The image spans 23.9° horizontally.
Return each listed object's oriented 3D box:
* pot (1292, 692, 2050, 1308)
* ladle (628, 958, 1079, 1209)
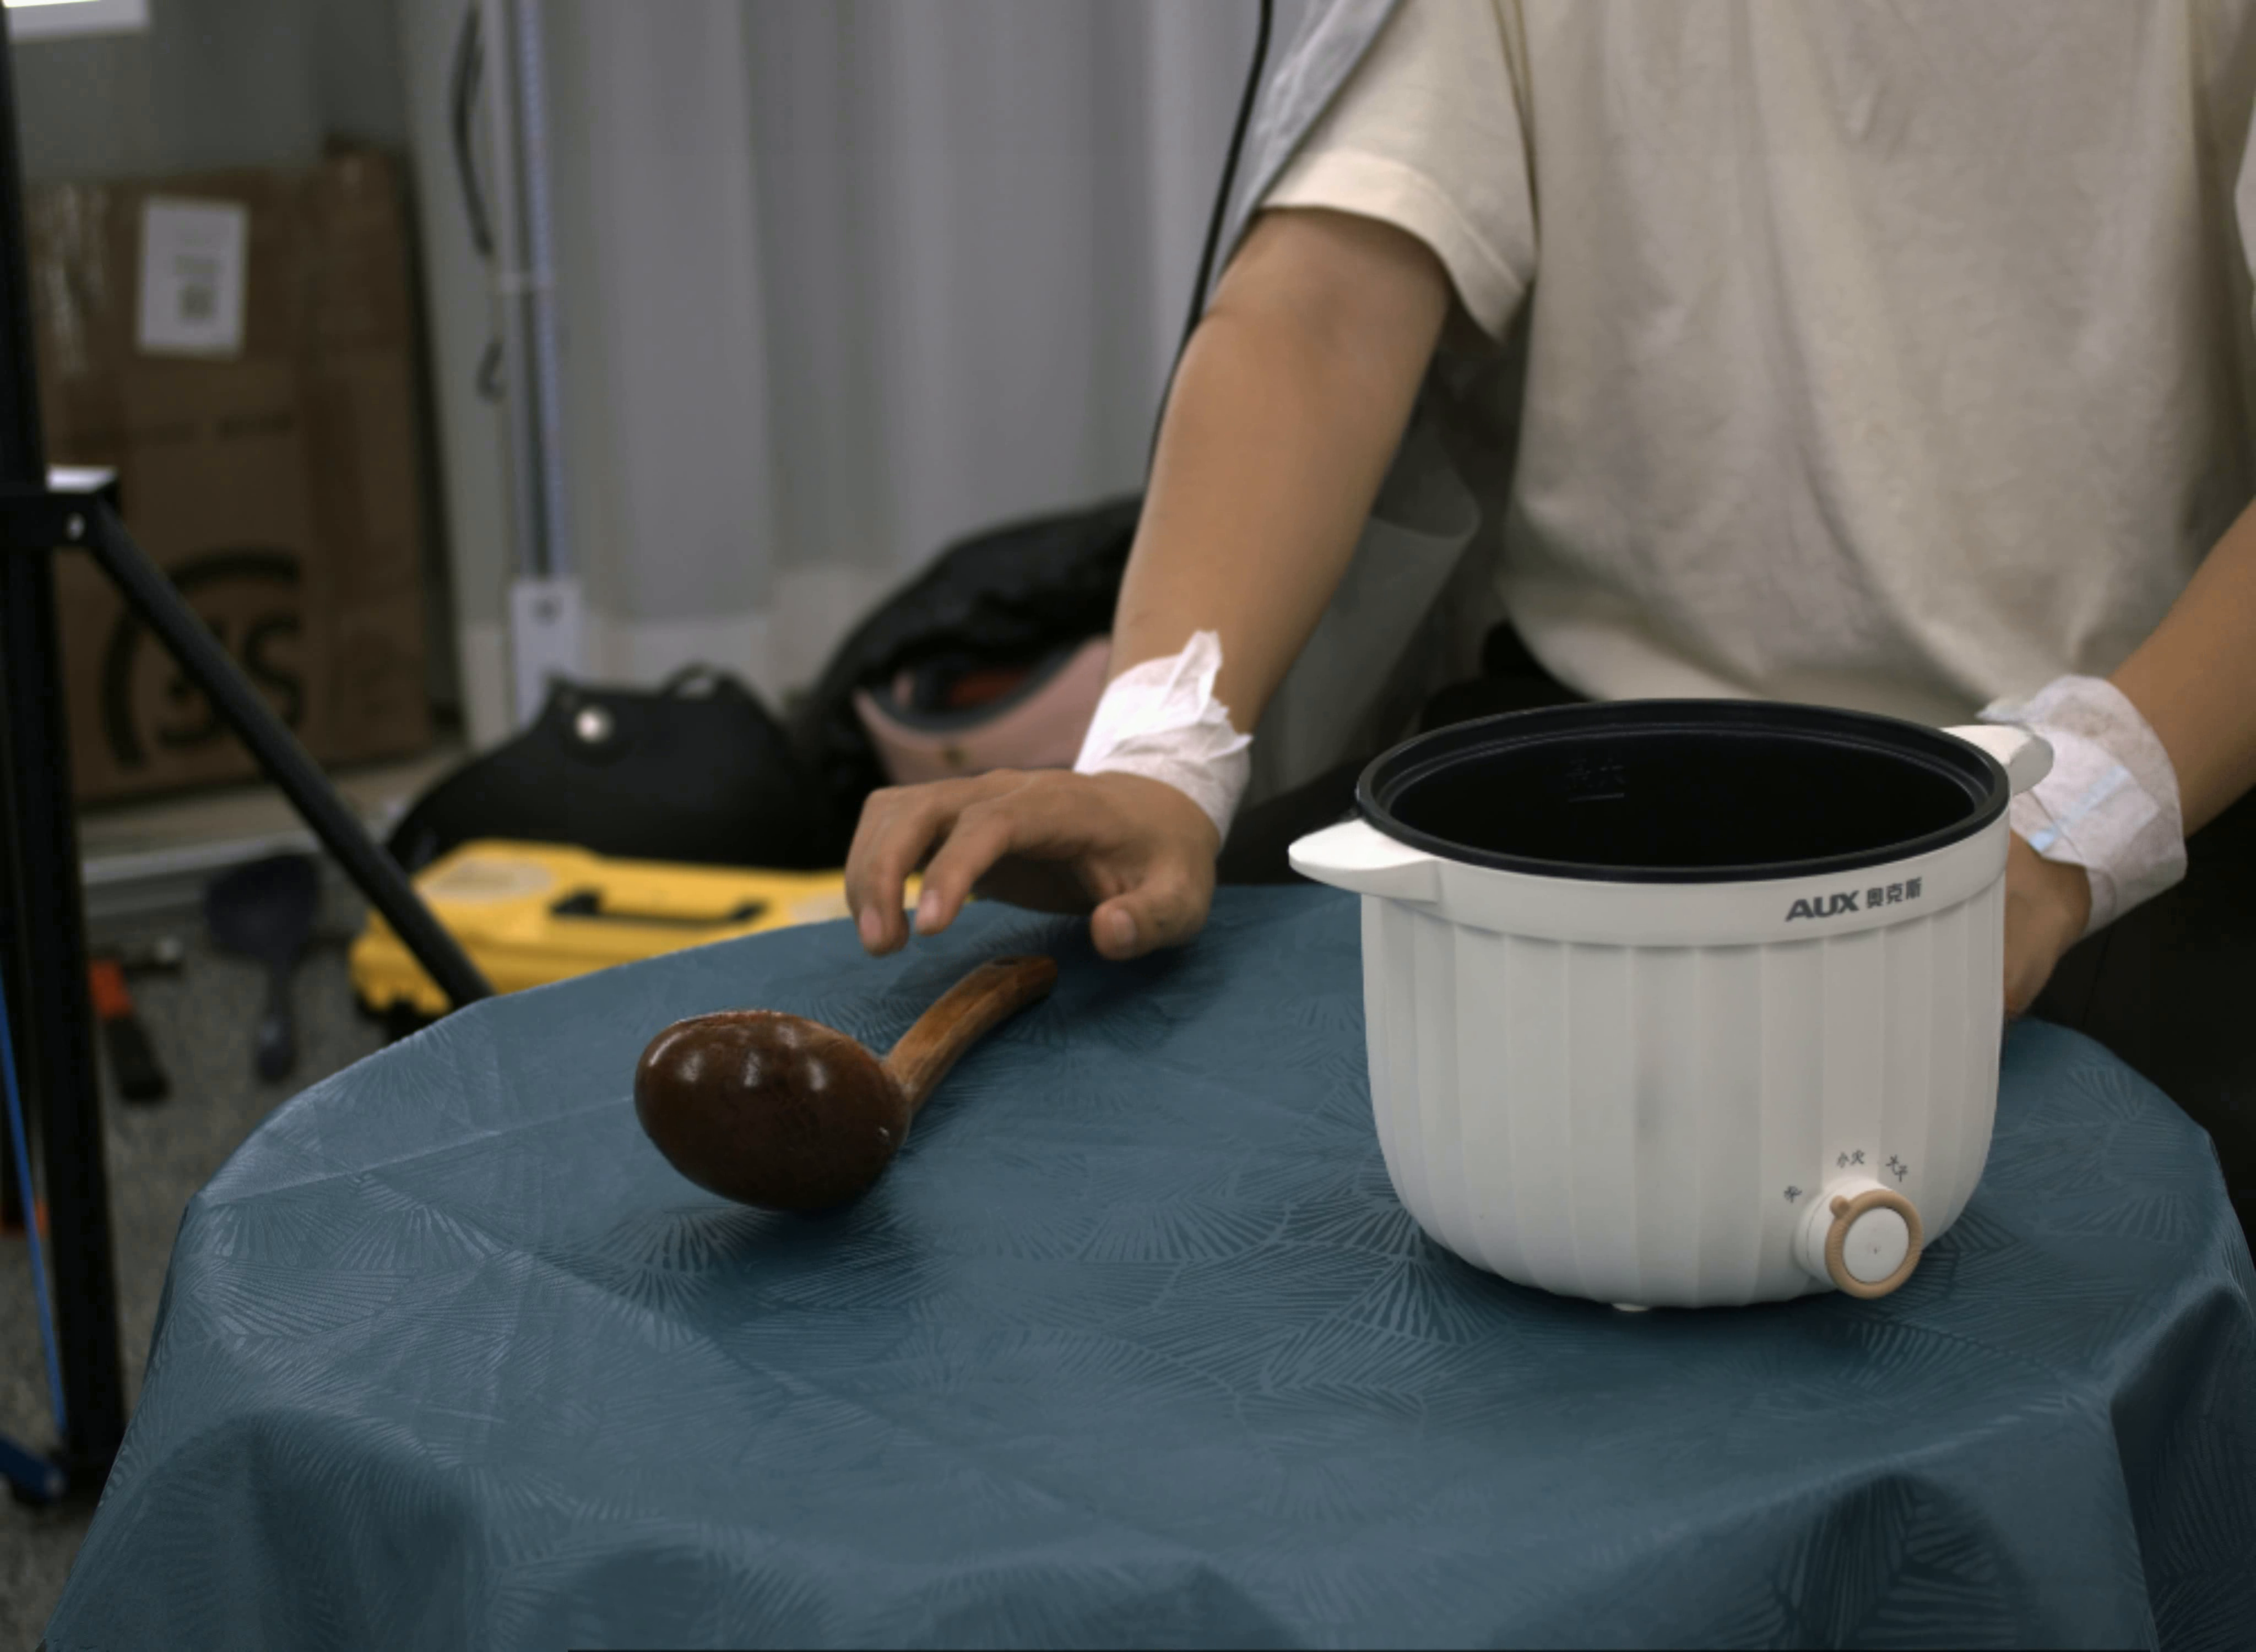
[{"bbox_3d":[0.159,0.051,1.475,0.235,0.143,0.194,-10,14,-23],"label":"pot"},{"bbox_3d":[-0.072,0.053,1.621,0.083,0.076,0.271,2,16,18],"label":"ladle"}]
